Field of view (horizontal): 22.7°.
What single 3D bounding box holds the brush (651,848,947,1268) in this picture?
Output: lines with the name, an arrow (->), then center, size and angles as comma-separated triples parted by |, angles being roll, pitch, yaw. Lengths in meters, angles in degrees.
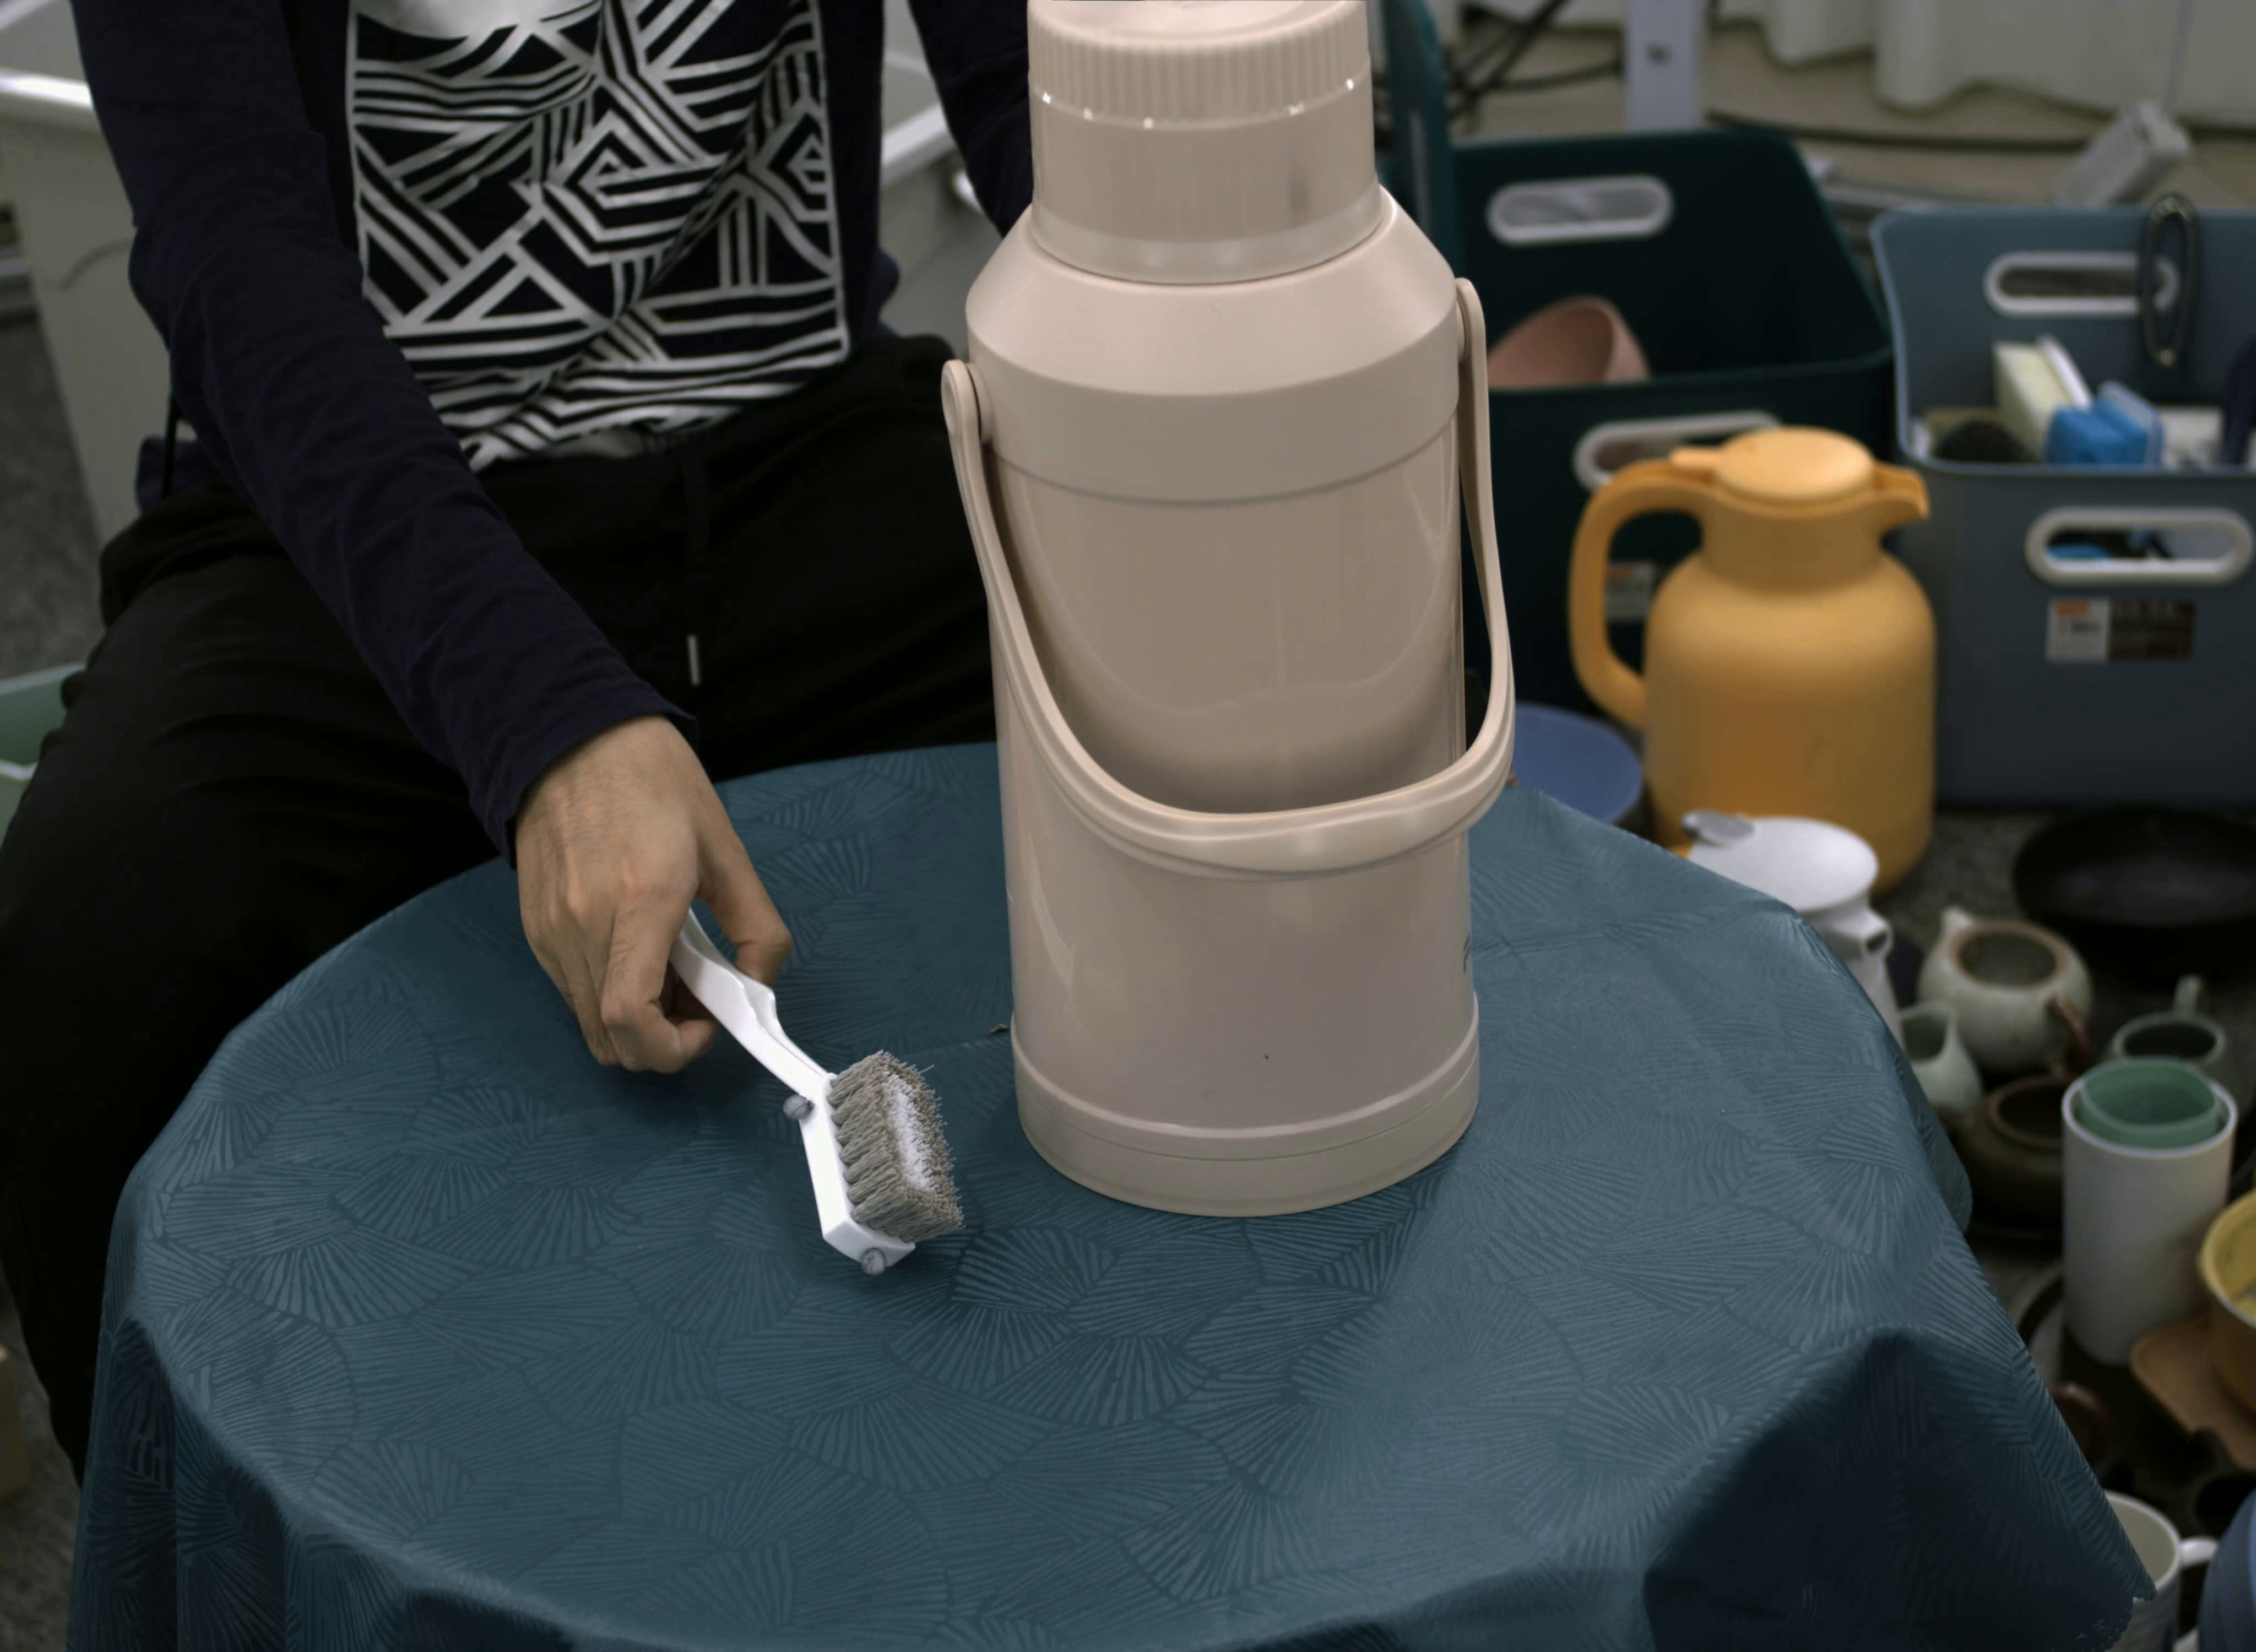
brush -> -0.112, 0.062, 1.890 | 0.034, 0.050, 0.246 | 17, 25, -31

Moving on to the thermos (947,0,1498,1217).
thermos -> 0.031, -0.089, 1.839 | 0.175, 0.402, 0.209 | -12, 27, -14
